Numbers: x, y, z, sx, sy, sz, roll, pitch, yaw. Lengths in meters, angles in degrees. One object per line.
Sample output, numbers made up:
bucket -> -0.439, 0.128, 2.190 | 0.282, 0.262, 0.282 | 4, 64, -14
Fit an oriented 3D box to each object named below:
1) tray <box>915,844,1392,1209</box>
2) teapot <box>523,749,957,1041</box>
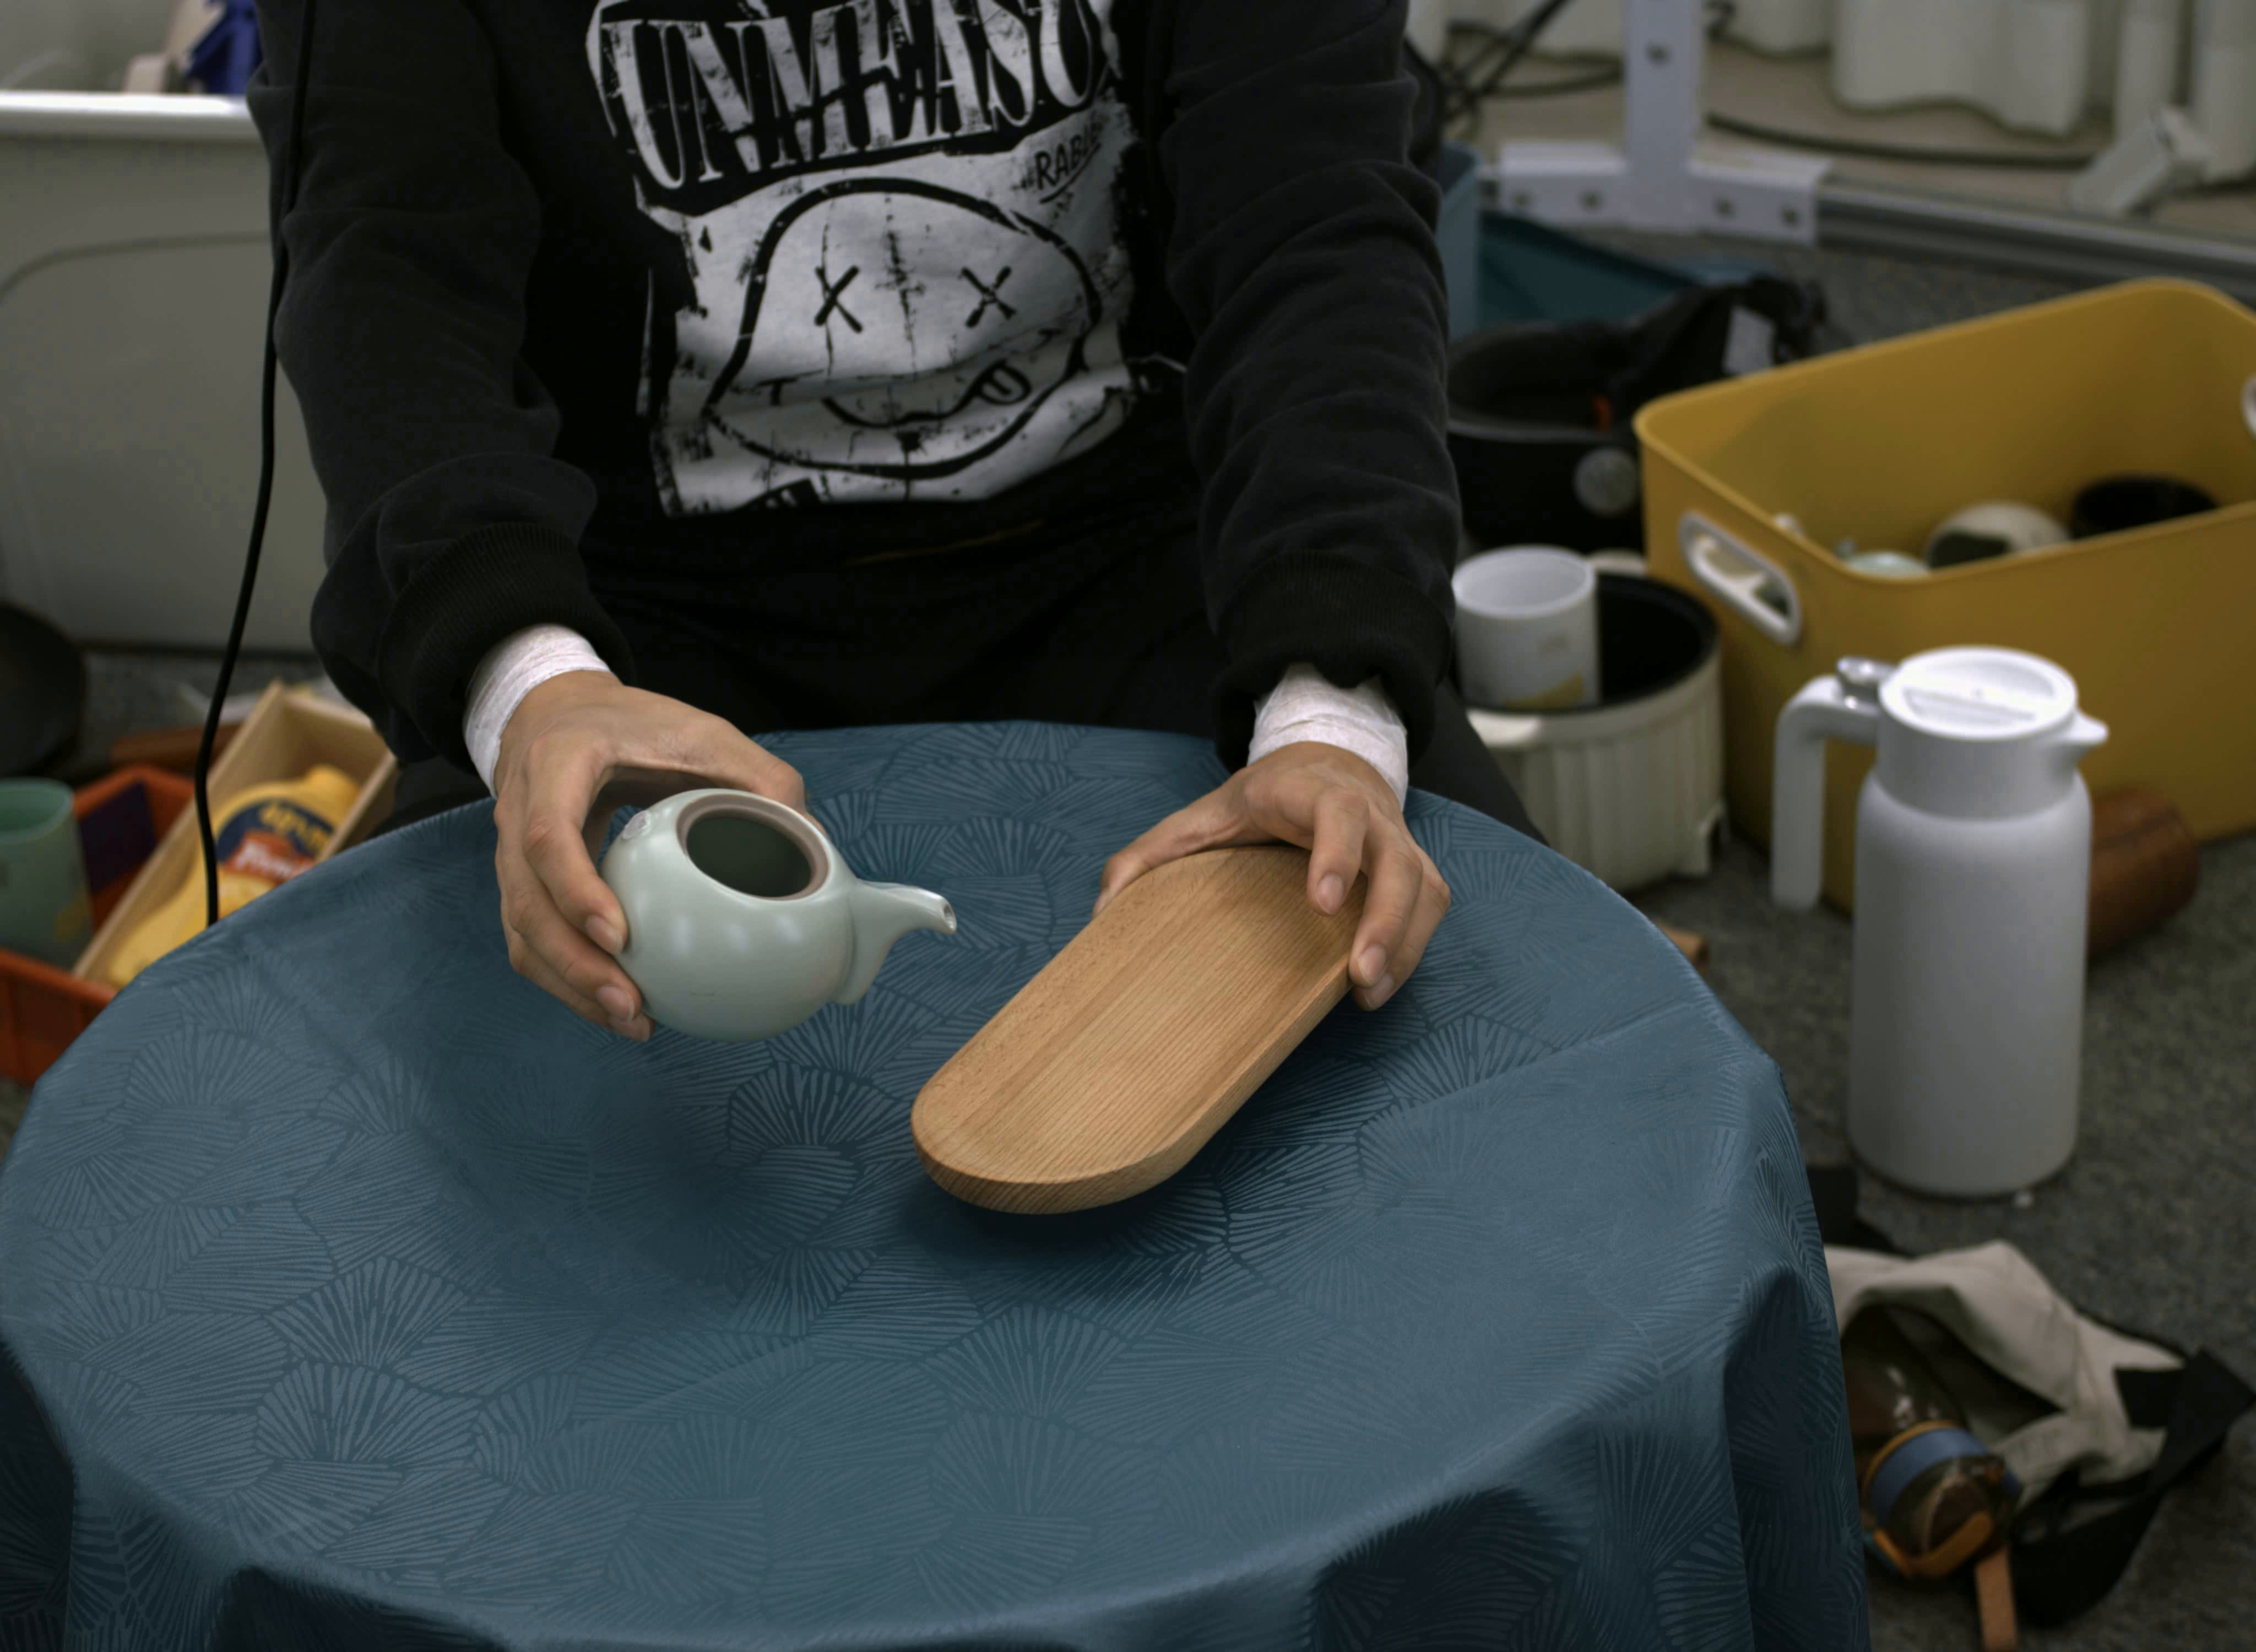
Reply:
tray -> 0.011, 0.066, 1.902 | 0.101, 0.020, 0.235 | 10, 30, 26
teapot -> -0.133, 0.028, 1.843 | 0.143, 0.073, 0.090 | 23, 32, -6
